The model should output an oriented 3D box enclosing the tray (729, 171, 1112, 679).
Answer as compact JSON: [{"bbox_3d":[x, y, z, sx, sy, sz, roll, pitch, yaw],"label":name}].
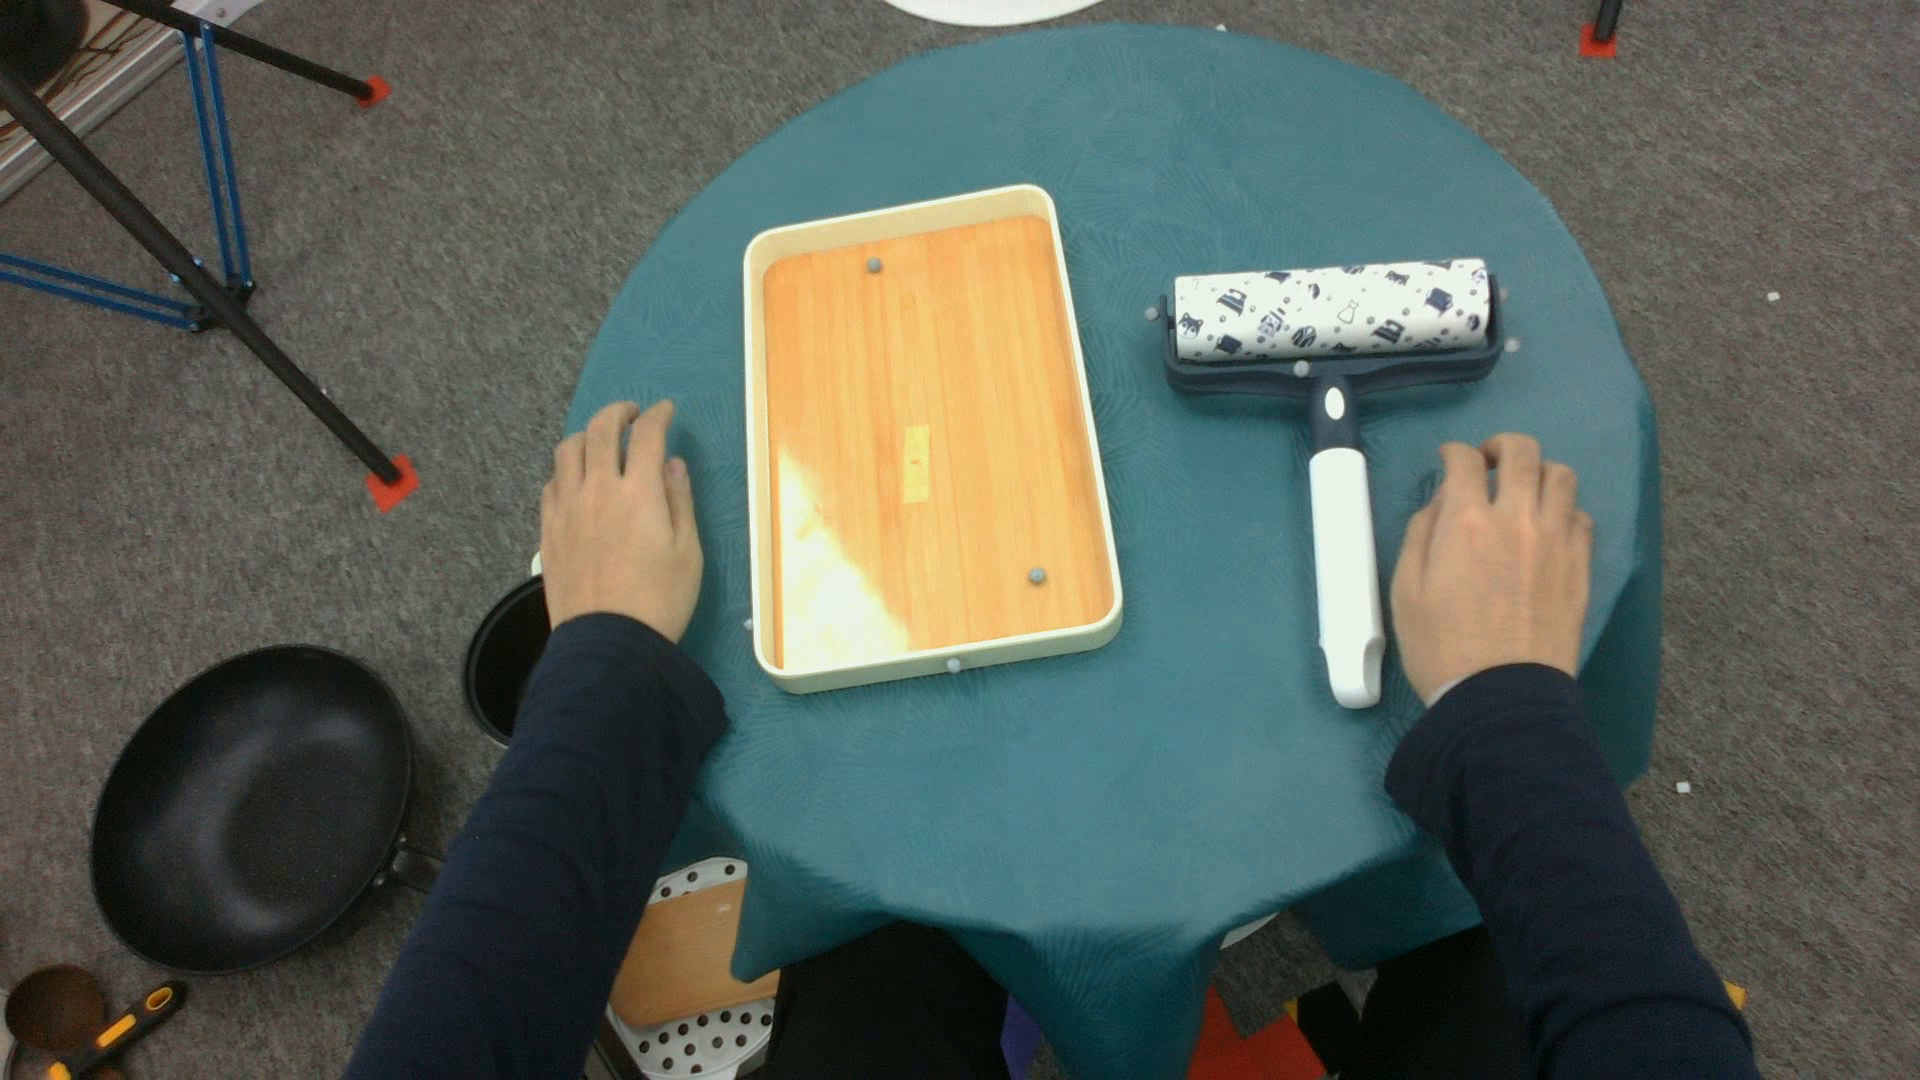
[{"bbox_3d":[-0.030,-0.074,0.766,0.191,0.027,0.301,-9,60,4],"label":"tray"}]

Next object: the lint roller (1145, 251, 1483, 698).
[{"bbox_3d":[0.188,-0.041,0.705,0.176,0.050,0.248,-2,63,7],"label":"lint roller"}]
